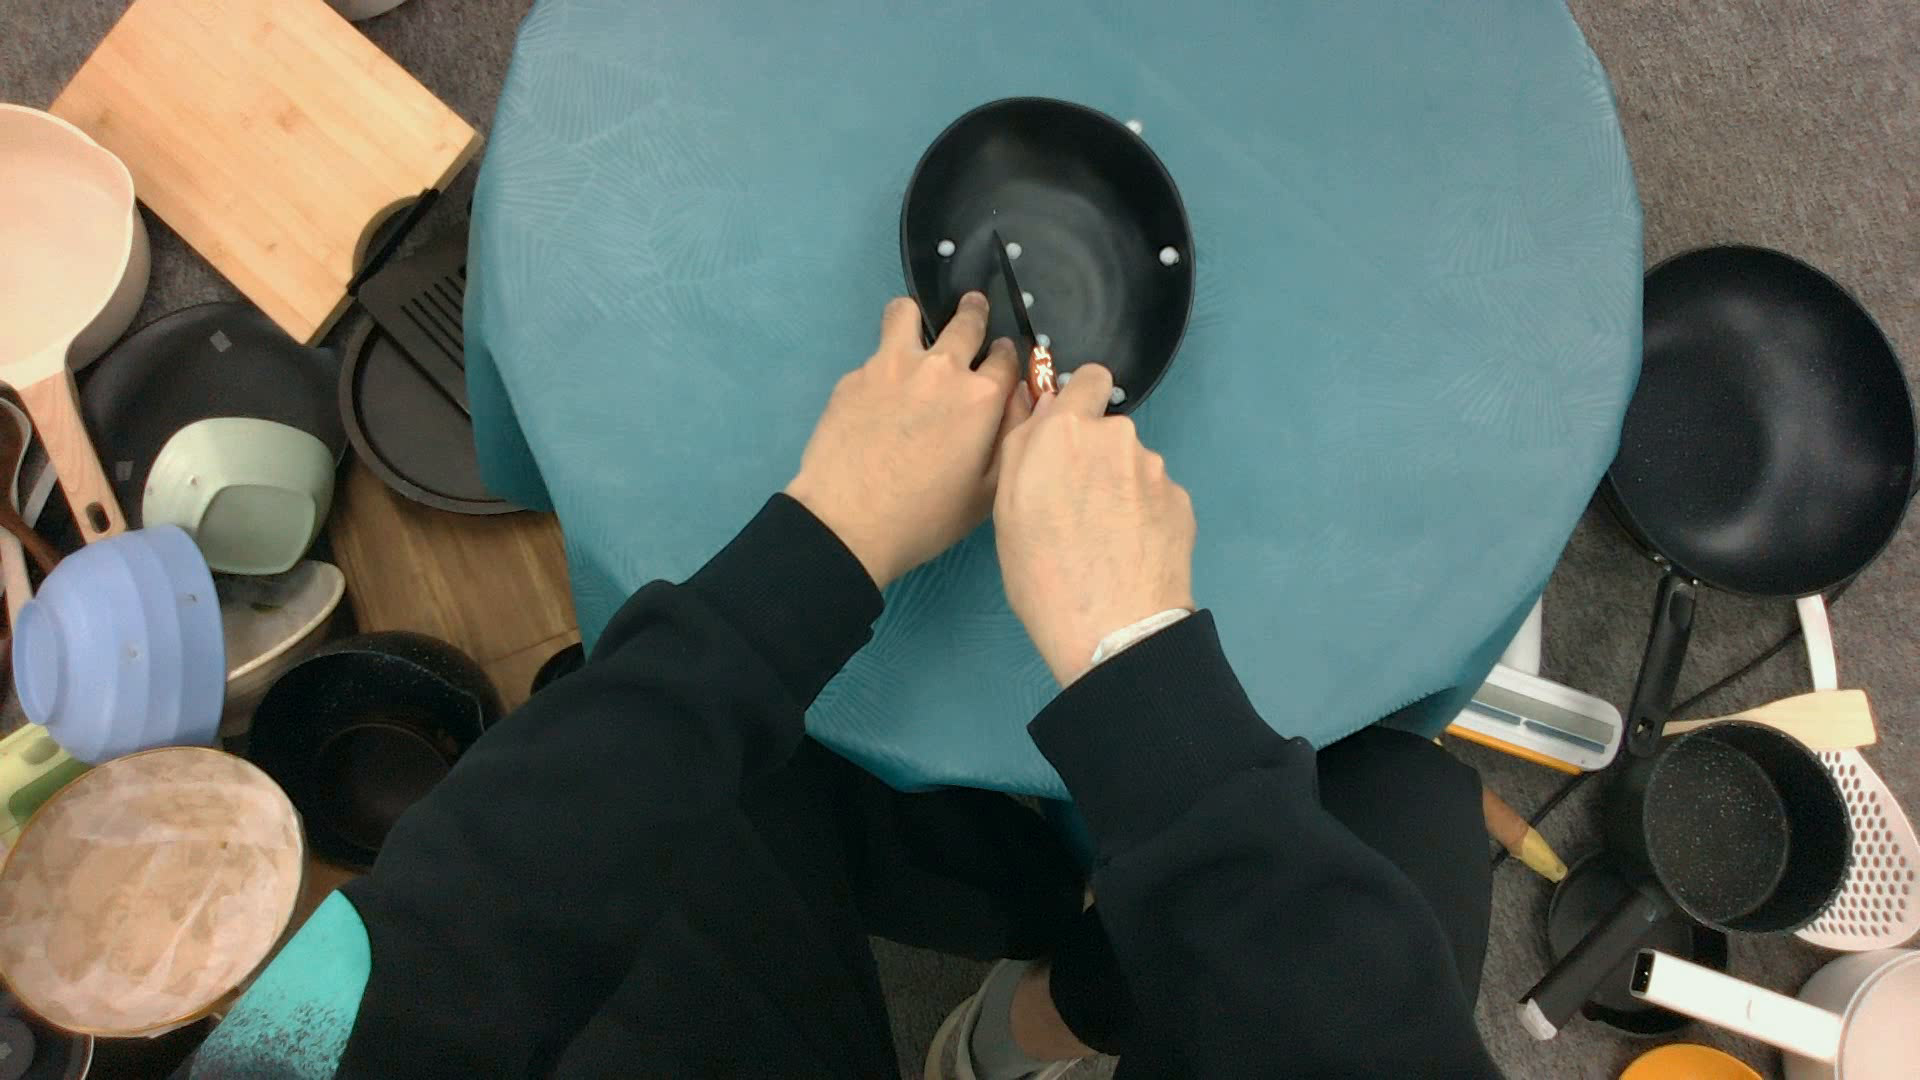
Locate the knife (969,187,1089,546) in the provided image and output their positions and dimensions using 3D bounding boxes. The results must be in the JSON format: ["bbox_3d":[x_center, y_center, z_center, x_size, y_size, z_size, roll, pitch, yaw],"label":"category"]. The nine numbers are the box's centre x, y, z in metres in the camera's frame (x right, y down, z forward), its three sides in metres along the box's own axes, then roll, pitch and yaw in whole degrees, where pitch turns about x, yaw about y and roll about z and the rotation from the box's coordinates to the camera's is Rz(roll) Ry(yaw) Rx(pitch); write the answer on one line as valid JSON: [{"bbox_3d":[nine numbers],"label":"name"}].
[{"bbox_3d":[0.025,-0.086,0.611,0.017,0.026,0.226,-6,49,-9],"label":"knife"}]

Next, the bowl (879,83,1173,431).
[{"bbox_3d":[0.030,-0.132,0.667,0.137,0.066,0.170,-12,81,-6],"label":"bowl"}]
